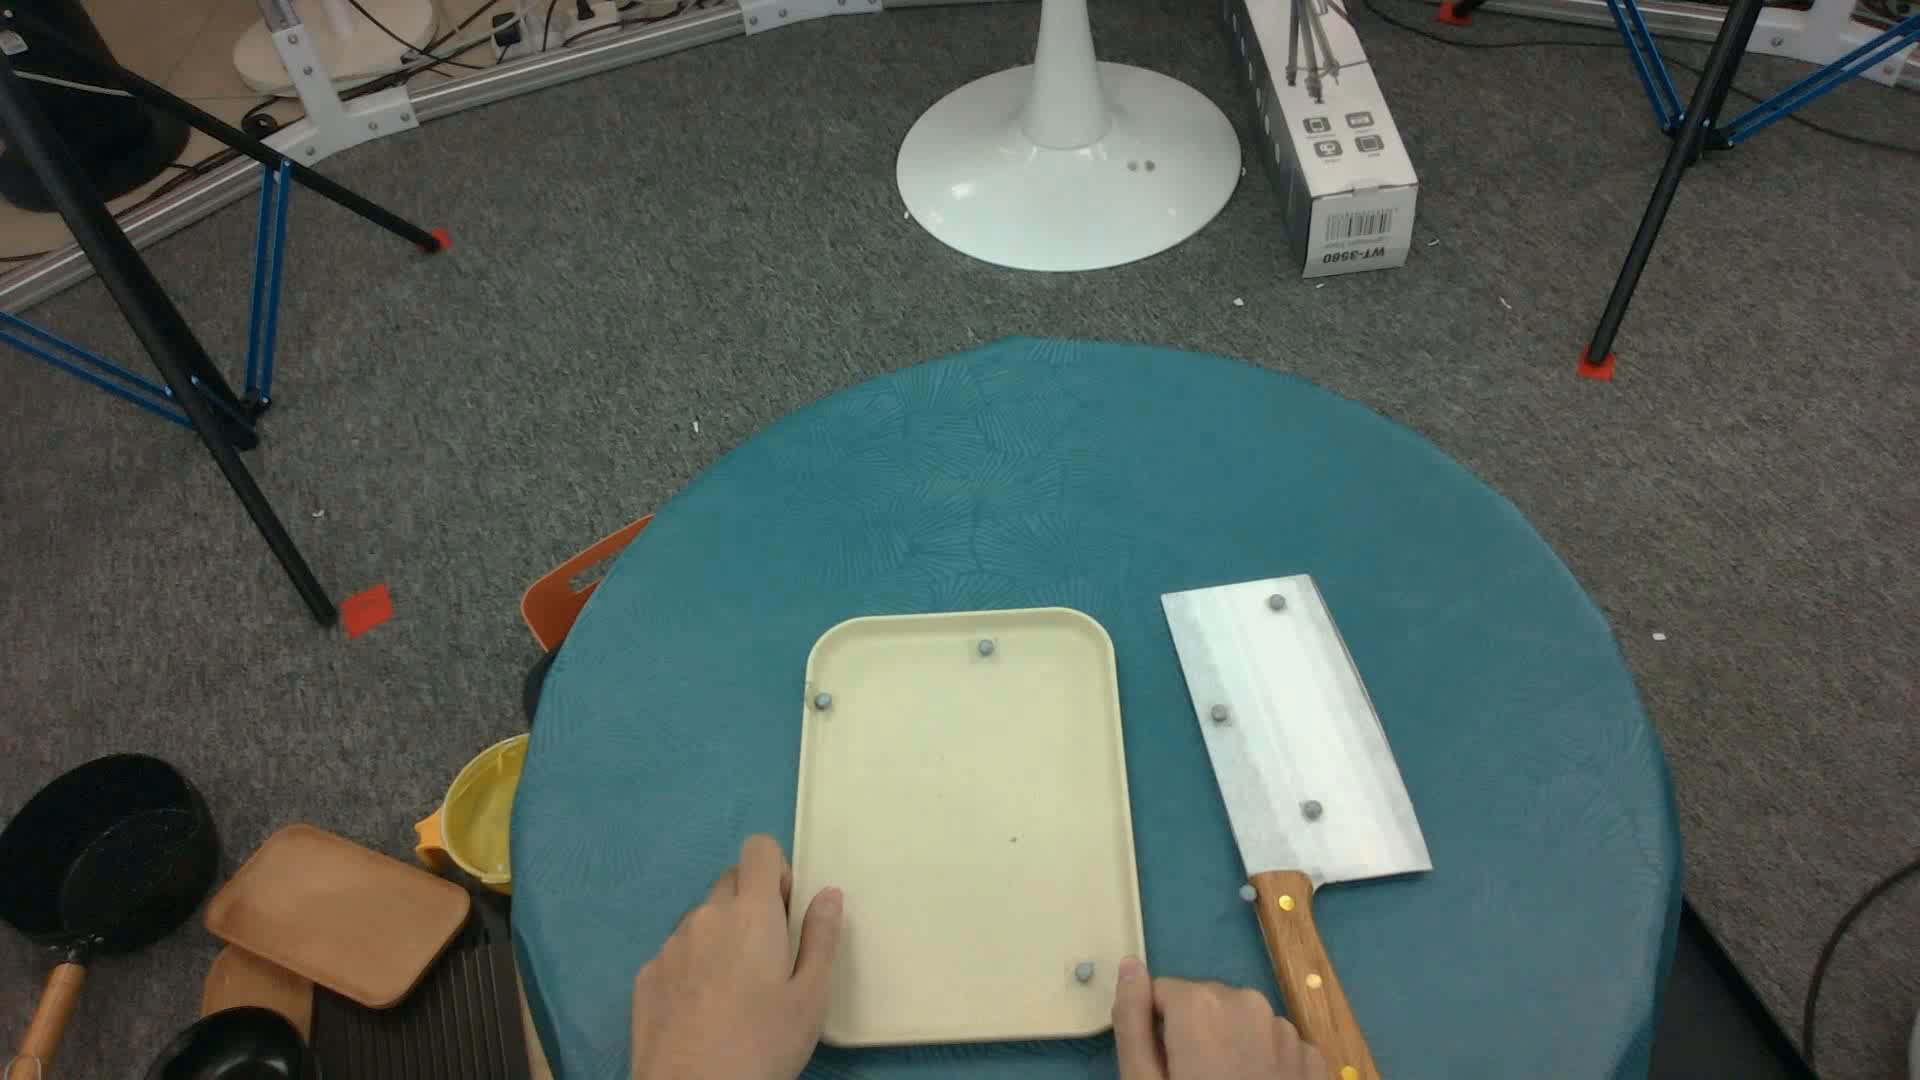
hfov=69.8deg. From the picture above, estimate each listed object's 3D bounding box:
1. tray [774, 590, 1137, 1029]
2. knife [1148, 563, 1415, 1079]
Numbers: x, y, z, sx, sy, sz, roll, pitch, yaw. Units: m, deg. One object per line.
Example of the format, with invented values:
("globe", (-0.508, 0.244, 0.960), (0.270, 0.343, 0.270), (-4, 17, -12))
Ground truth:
("tray", (-0.005, 0.128, 0.701), (0.171, 0.017, 0.241), (-2, 51, 1))
("knife", (0.172, 0.129, 0.690), (0.093, 0.021, 0.307), (-8, 49, -4))
